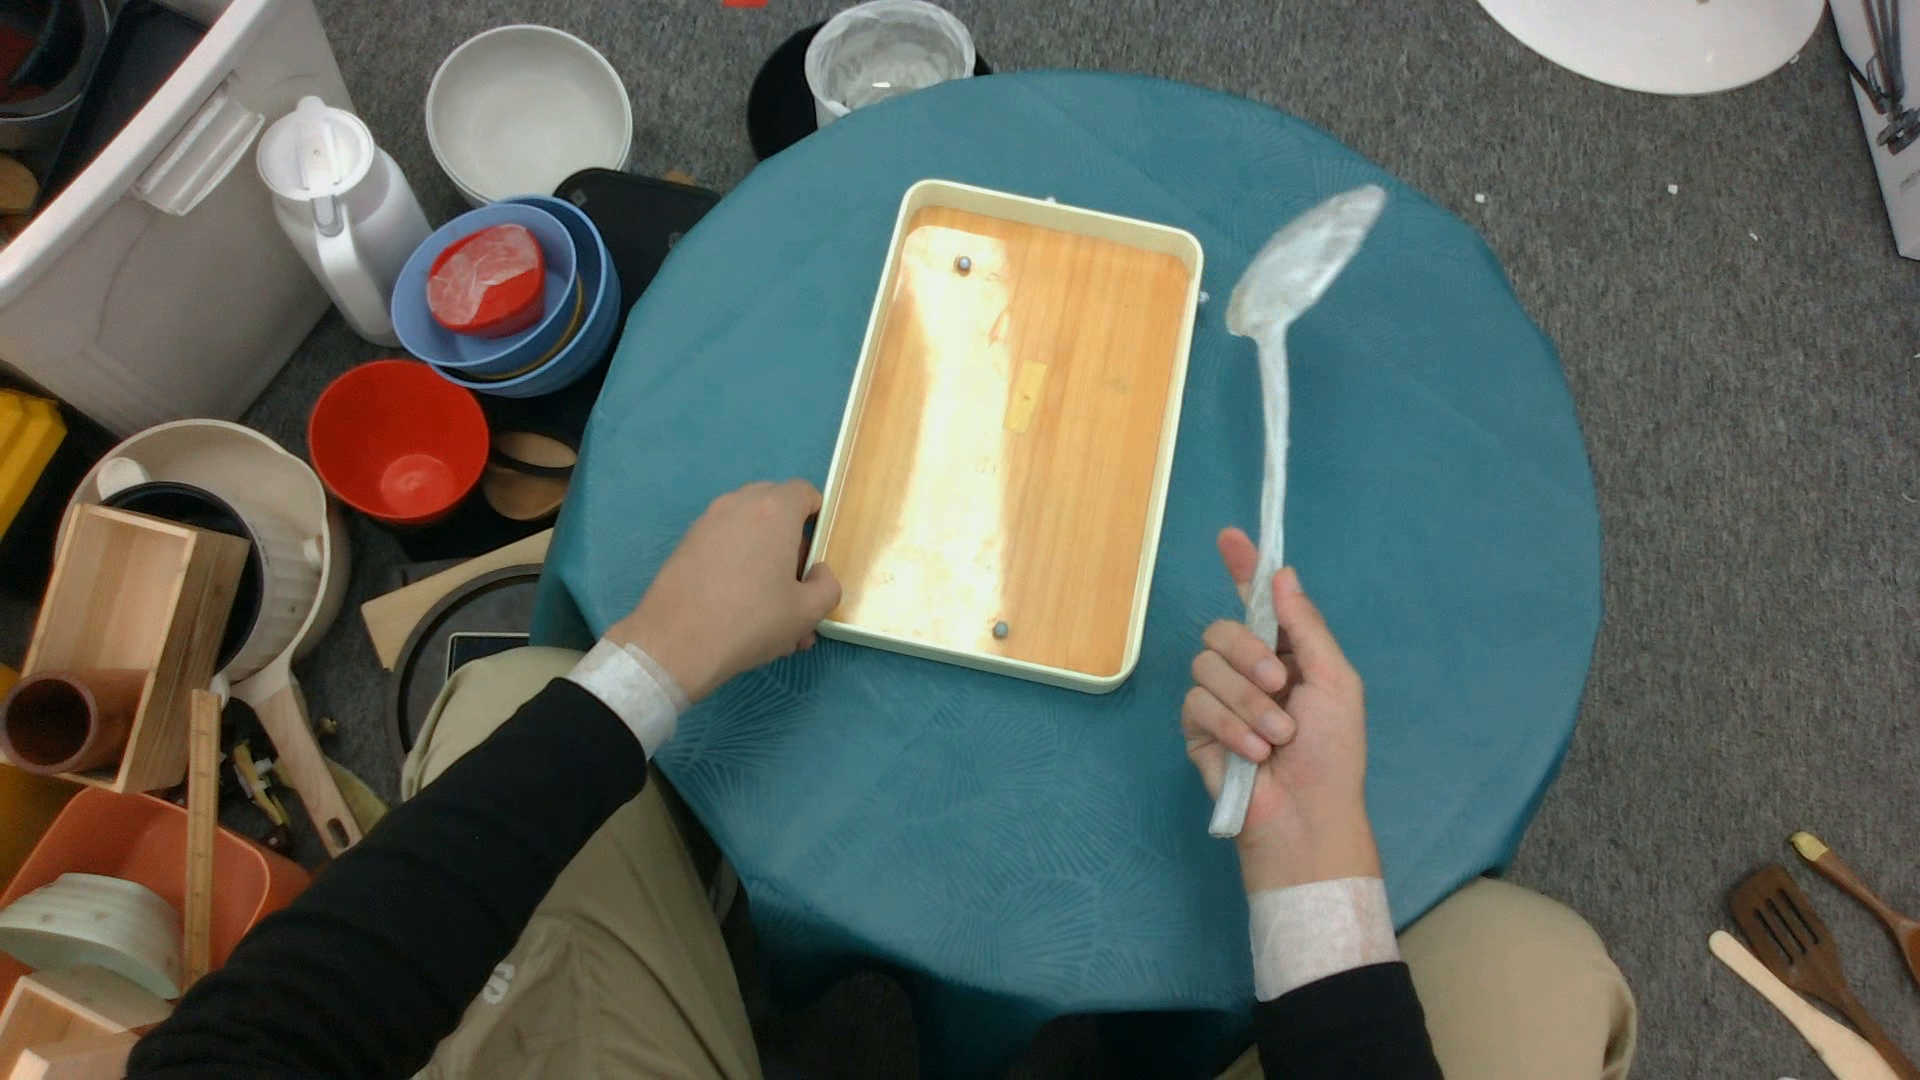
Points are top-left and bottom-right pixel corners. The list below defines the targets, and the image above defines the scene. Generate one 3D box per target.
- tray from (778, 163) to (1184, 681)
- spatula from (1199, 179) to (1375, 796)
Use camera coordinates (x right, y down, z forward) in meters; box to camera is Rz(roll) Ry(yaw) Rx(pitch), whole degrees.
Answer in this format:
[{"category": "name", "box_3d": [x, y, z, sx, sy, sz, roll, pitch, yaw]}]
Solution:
[{"category": "tray", "box_3d": [0.019, -0.077, 0.808, 0.191, 0.027, 0.301, 12, 68, 0]}, {"category": "spatula", "box_3d": [0.160, -0.039, 0.725, 0.045, 0.098, 0.366, 23, 65, -31]}]
